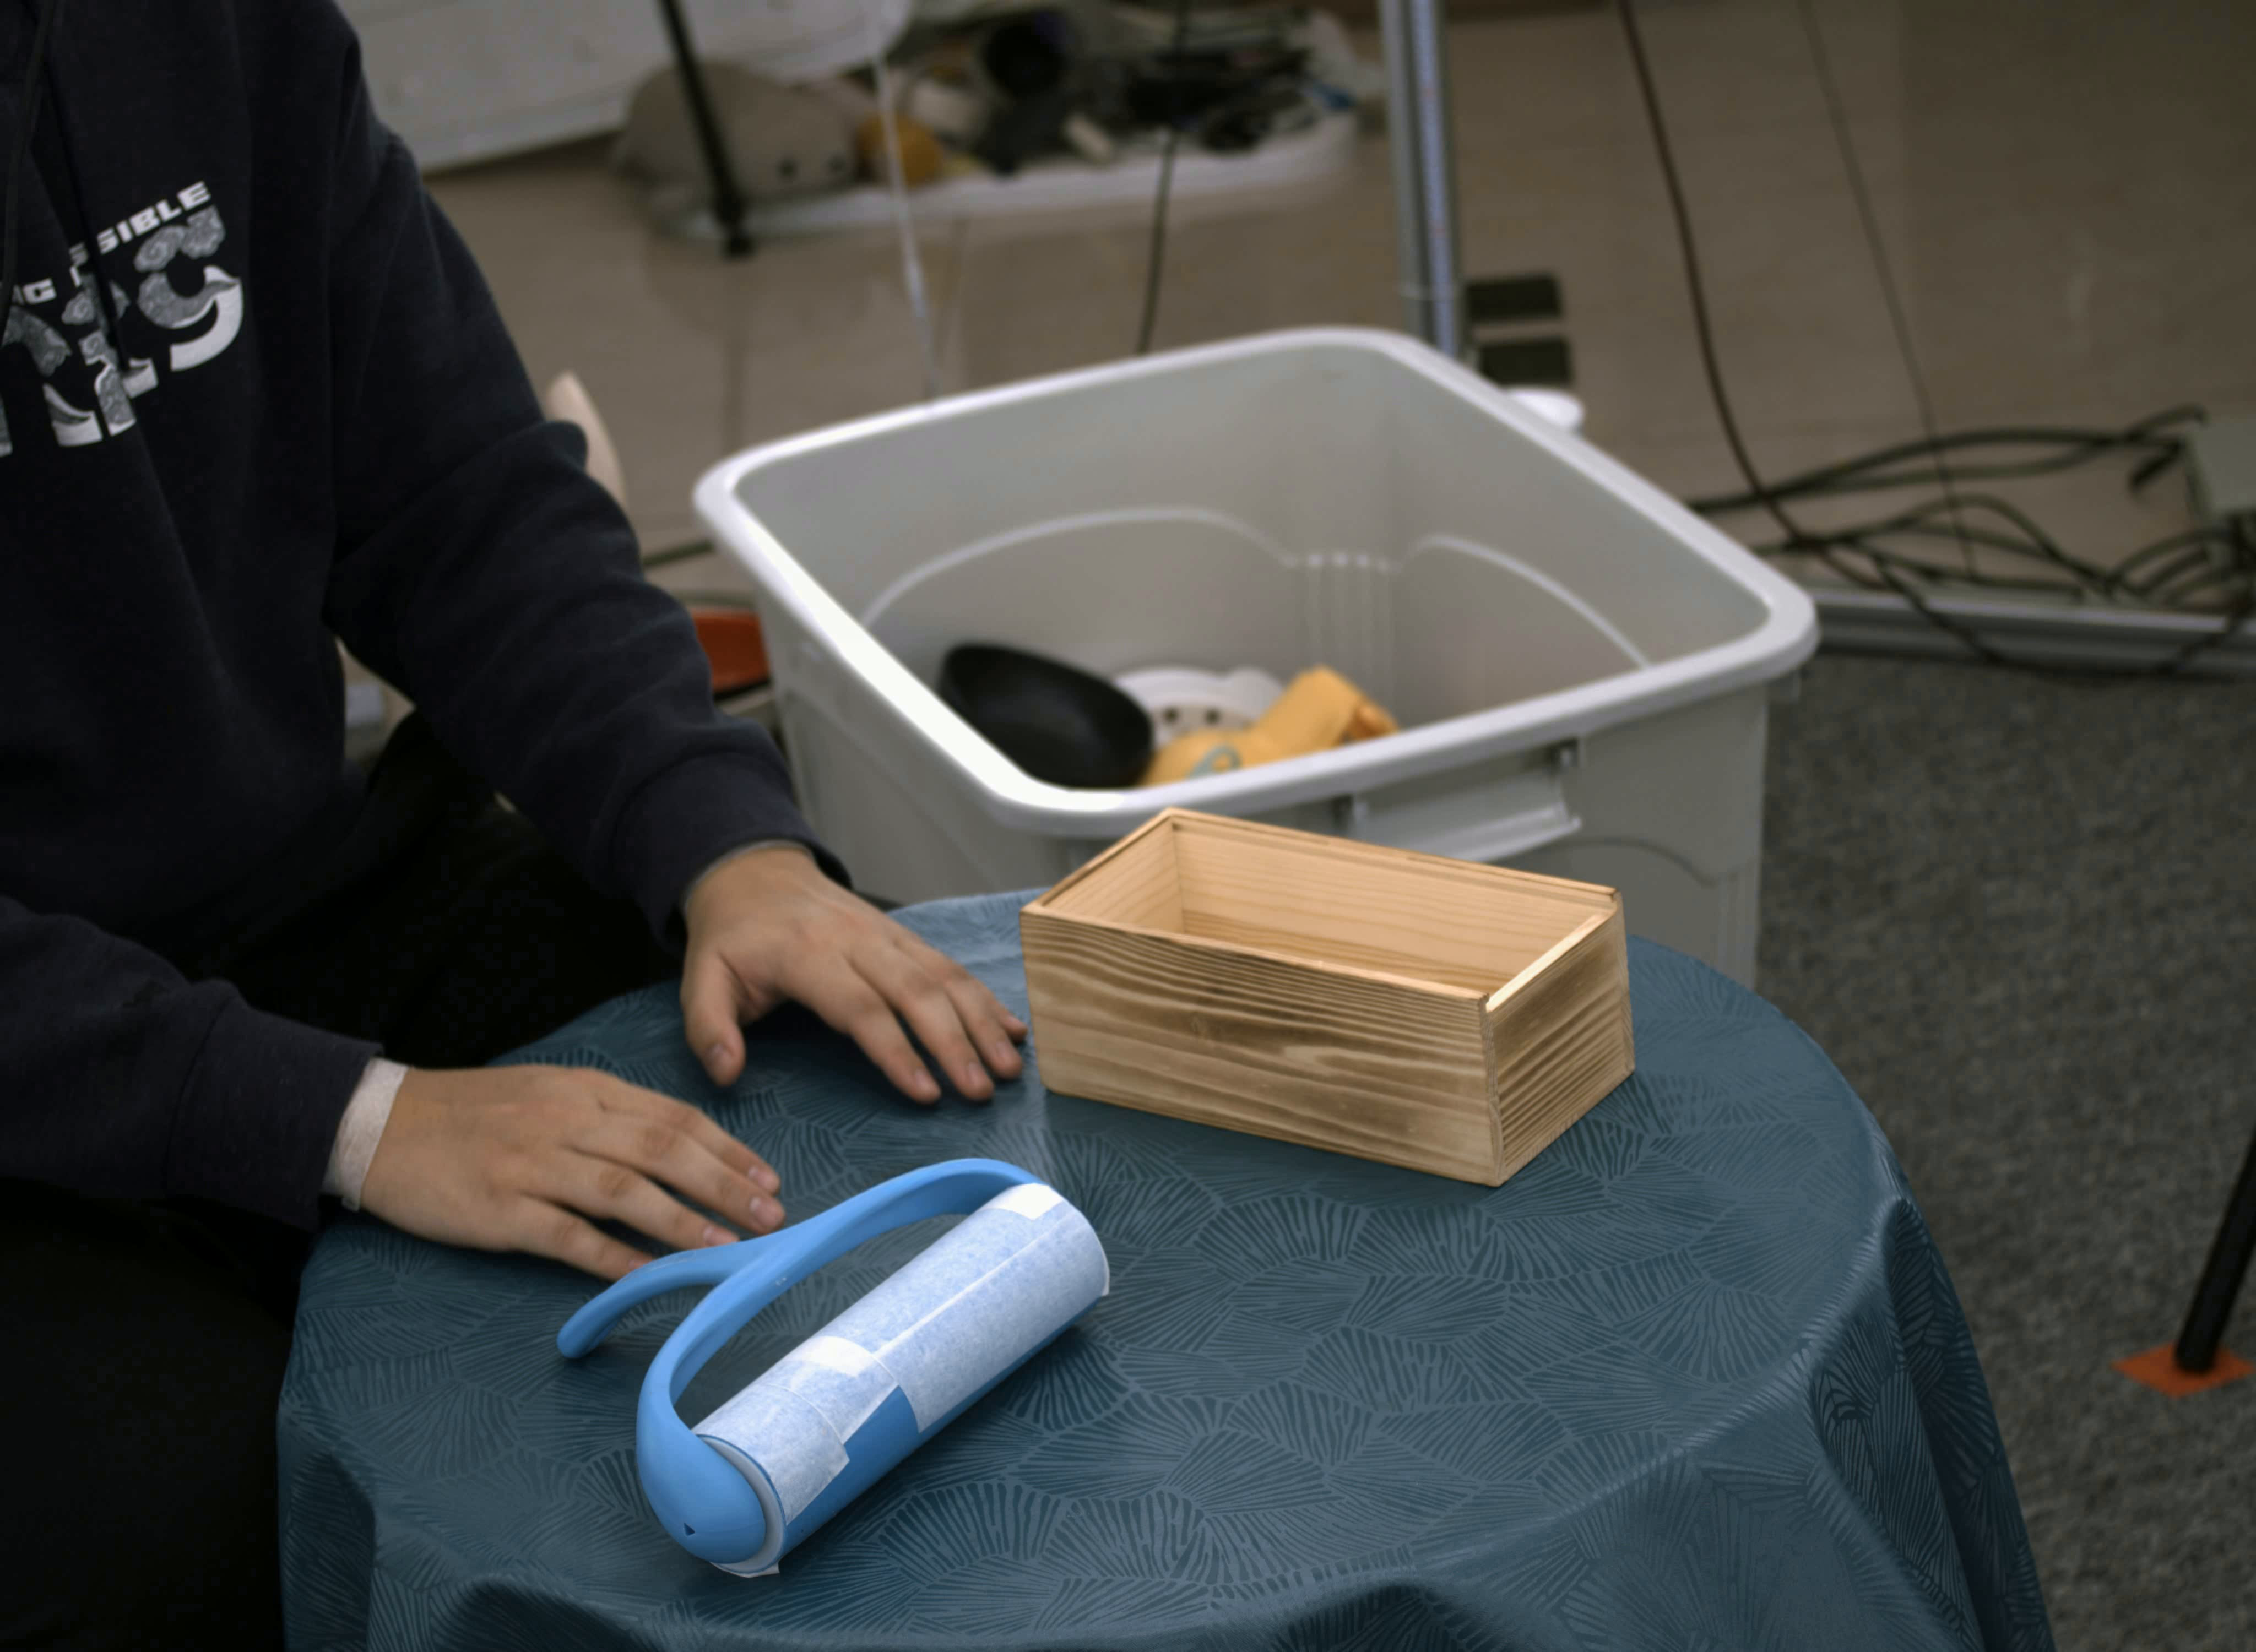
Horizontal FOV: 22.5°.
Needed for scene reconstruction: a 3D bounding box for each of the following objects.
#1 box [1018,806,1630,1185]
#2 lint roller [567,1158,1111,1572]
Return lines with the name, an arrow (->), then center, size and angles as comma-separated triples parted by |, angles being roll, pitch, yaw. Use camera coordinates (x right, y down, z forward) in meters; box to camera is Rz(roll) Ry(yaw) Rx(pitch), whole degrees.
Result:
box -> 0.076, 0.063, 2.198 | 0.210, 0.081, 0.106 | 11, 29, 32
lint roller -> -0.132, 0.180, 2.018 | 0.179, 0.069, 0.226 | 12, 32, 31
